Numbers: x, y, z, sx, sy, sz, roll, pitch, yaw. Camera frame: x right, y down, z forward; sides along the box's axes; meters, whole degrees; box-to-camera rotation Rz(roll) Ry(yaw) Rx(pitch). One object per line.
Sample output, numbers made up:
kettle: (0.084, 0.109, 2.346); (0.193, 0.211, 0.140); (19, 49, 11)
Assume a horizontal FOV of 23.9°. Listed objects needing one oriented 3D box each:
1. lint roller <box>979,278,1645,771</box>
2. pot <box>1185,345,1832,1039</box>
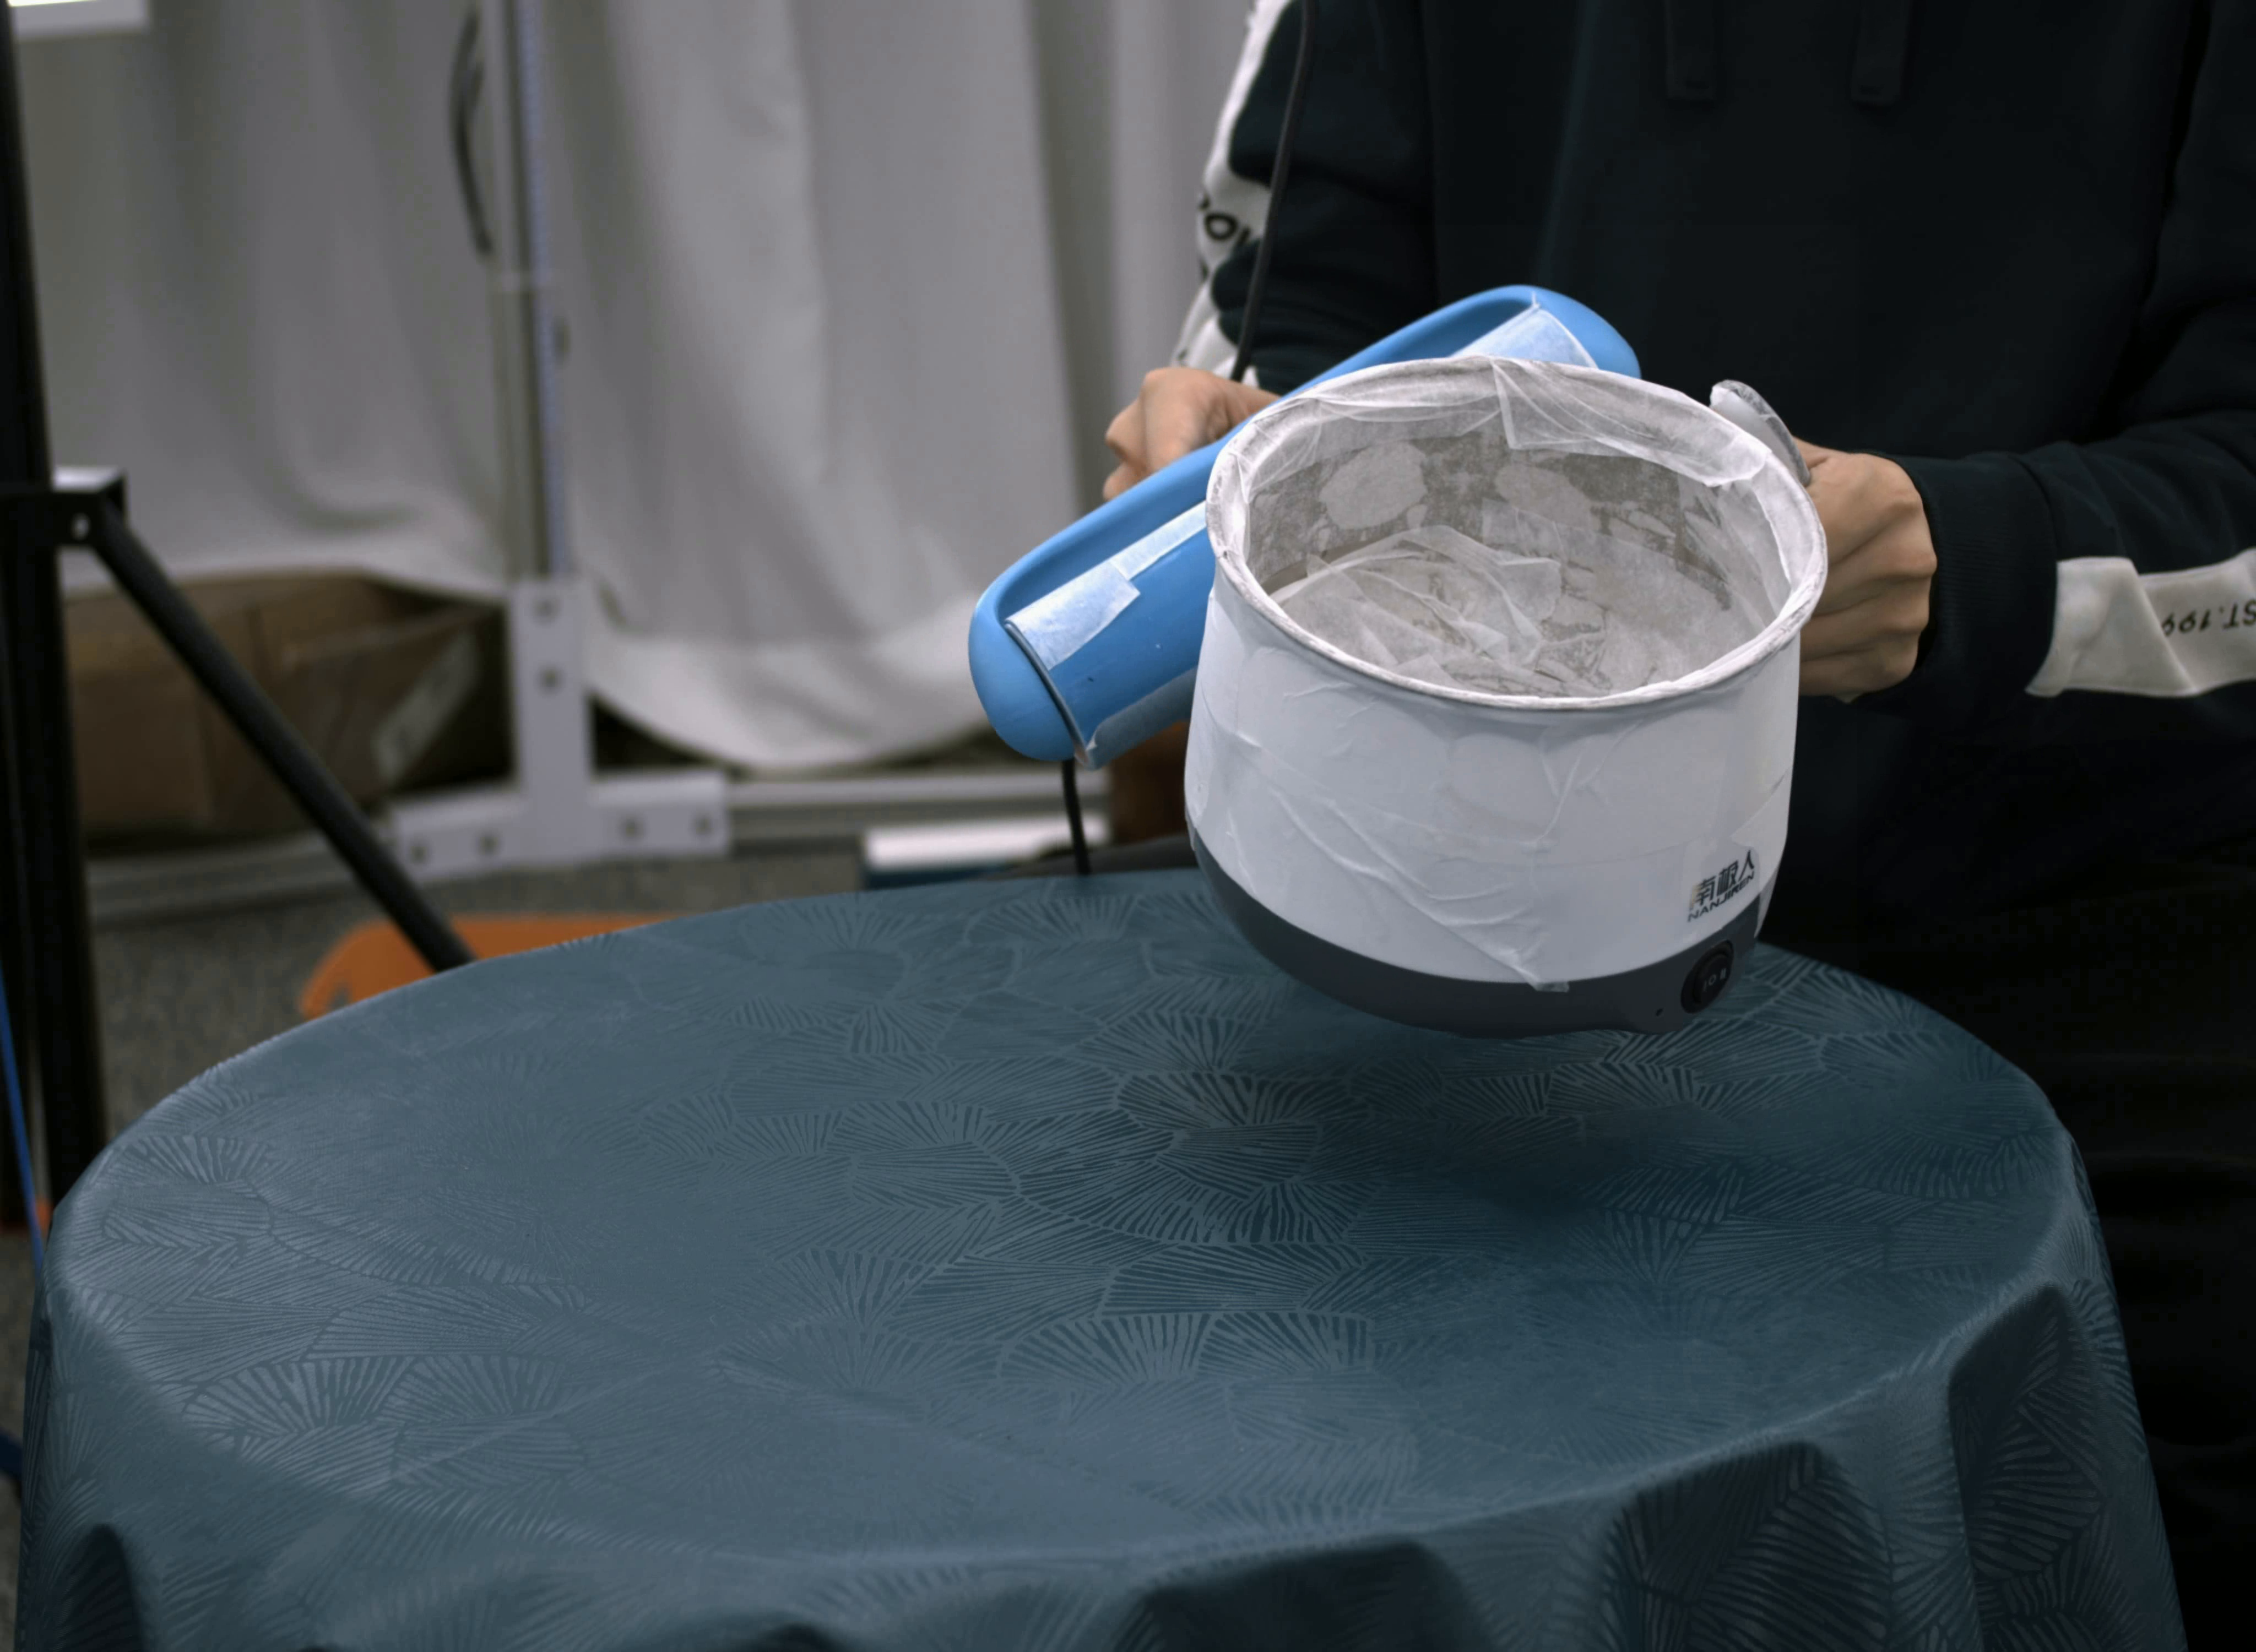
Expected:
lint roller: (0.043, -0.094, 1.676); (0.227, 0.067, 0.182); (-34, 11, -10)
pot: (0.125, -0.047, 1.545); (0.182, 0.136, 0.230); (31, 46, 32)
